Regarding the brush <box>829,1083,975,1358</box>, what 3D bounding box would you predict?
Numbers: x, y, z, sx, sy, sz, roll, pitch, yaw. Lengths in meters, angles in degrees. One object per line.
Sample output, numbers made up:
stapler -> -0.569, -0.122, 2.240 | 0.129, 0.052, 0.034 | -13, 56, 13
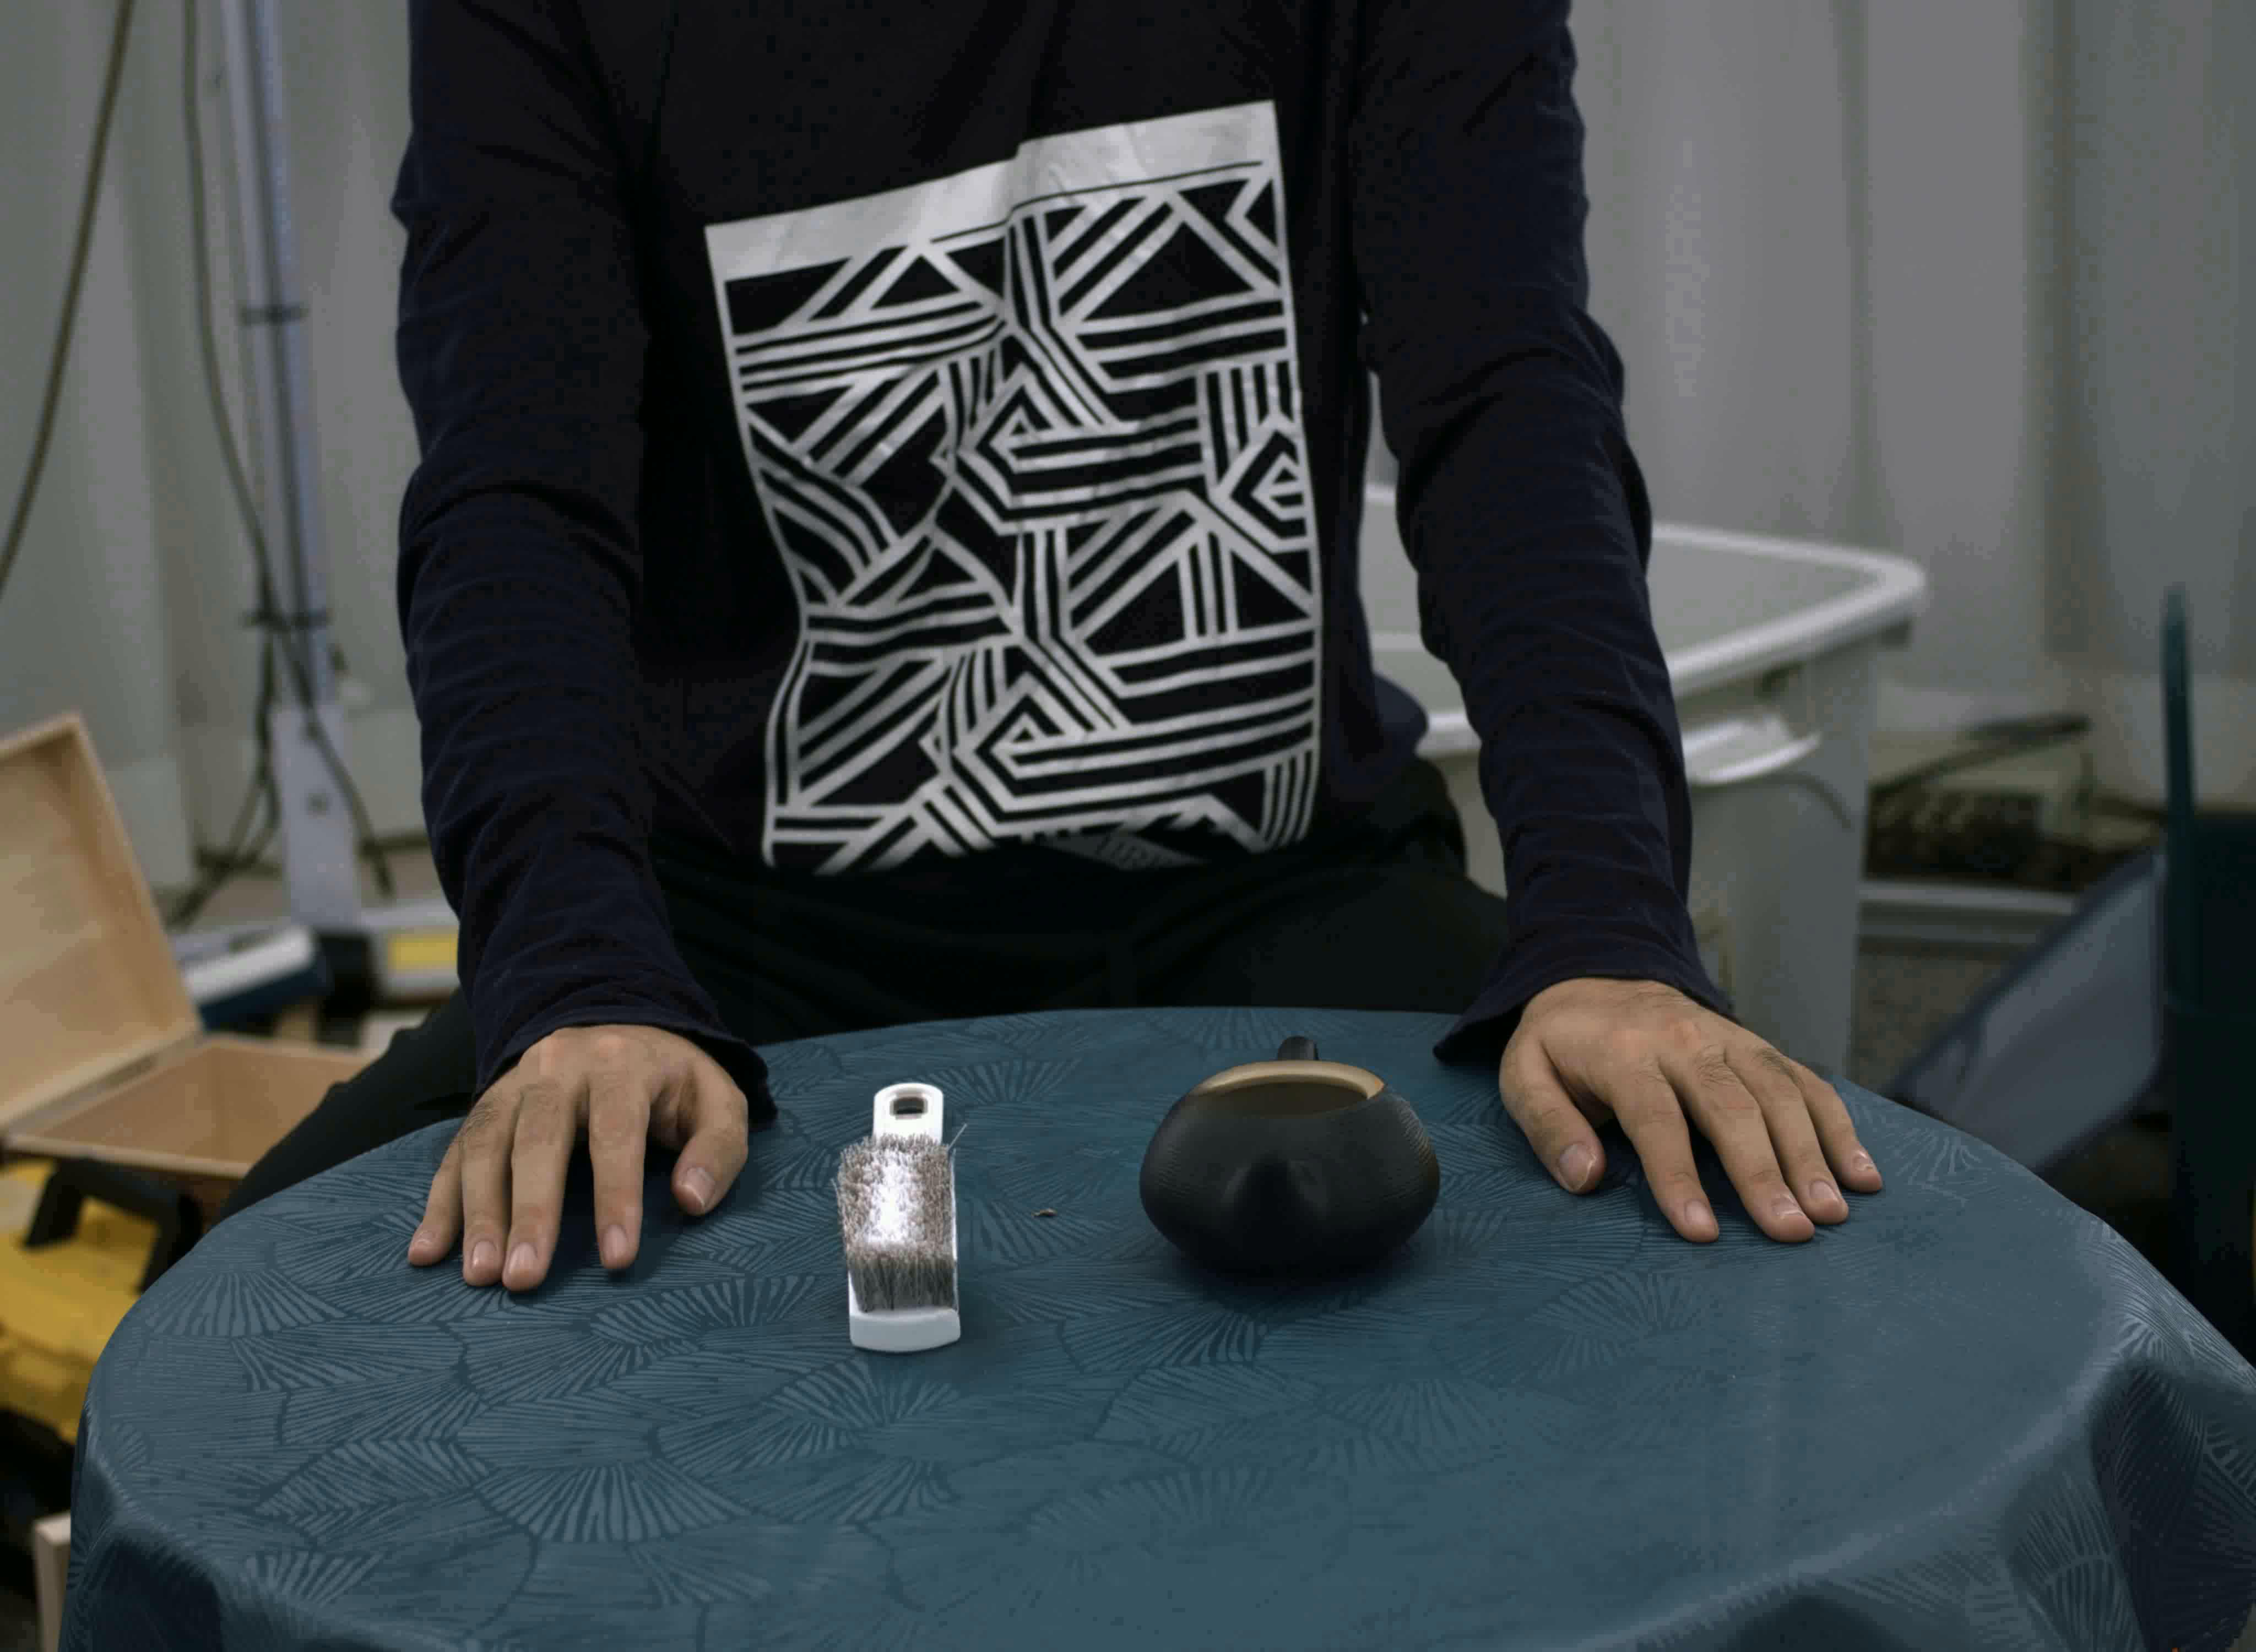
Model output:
brush -> -0.066, 0.102, 1.686 | 0.034, 0.050, 0.245 | -7, 15, 3

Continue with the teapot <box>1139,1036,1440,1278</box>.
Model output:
teapot -> 0.049, 0.103, 1.647 | 0.091, 0.053, 0.134 | 2, 15, 6
